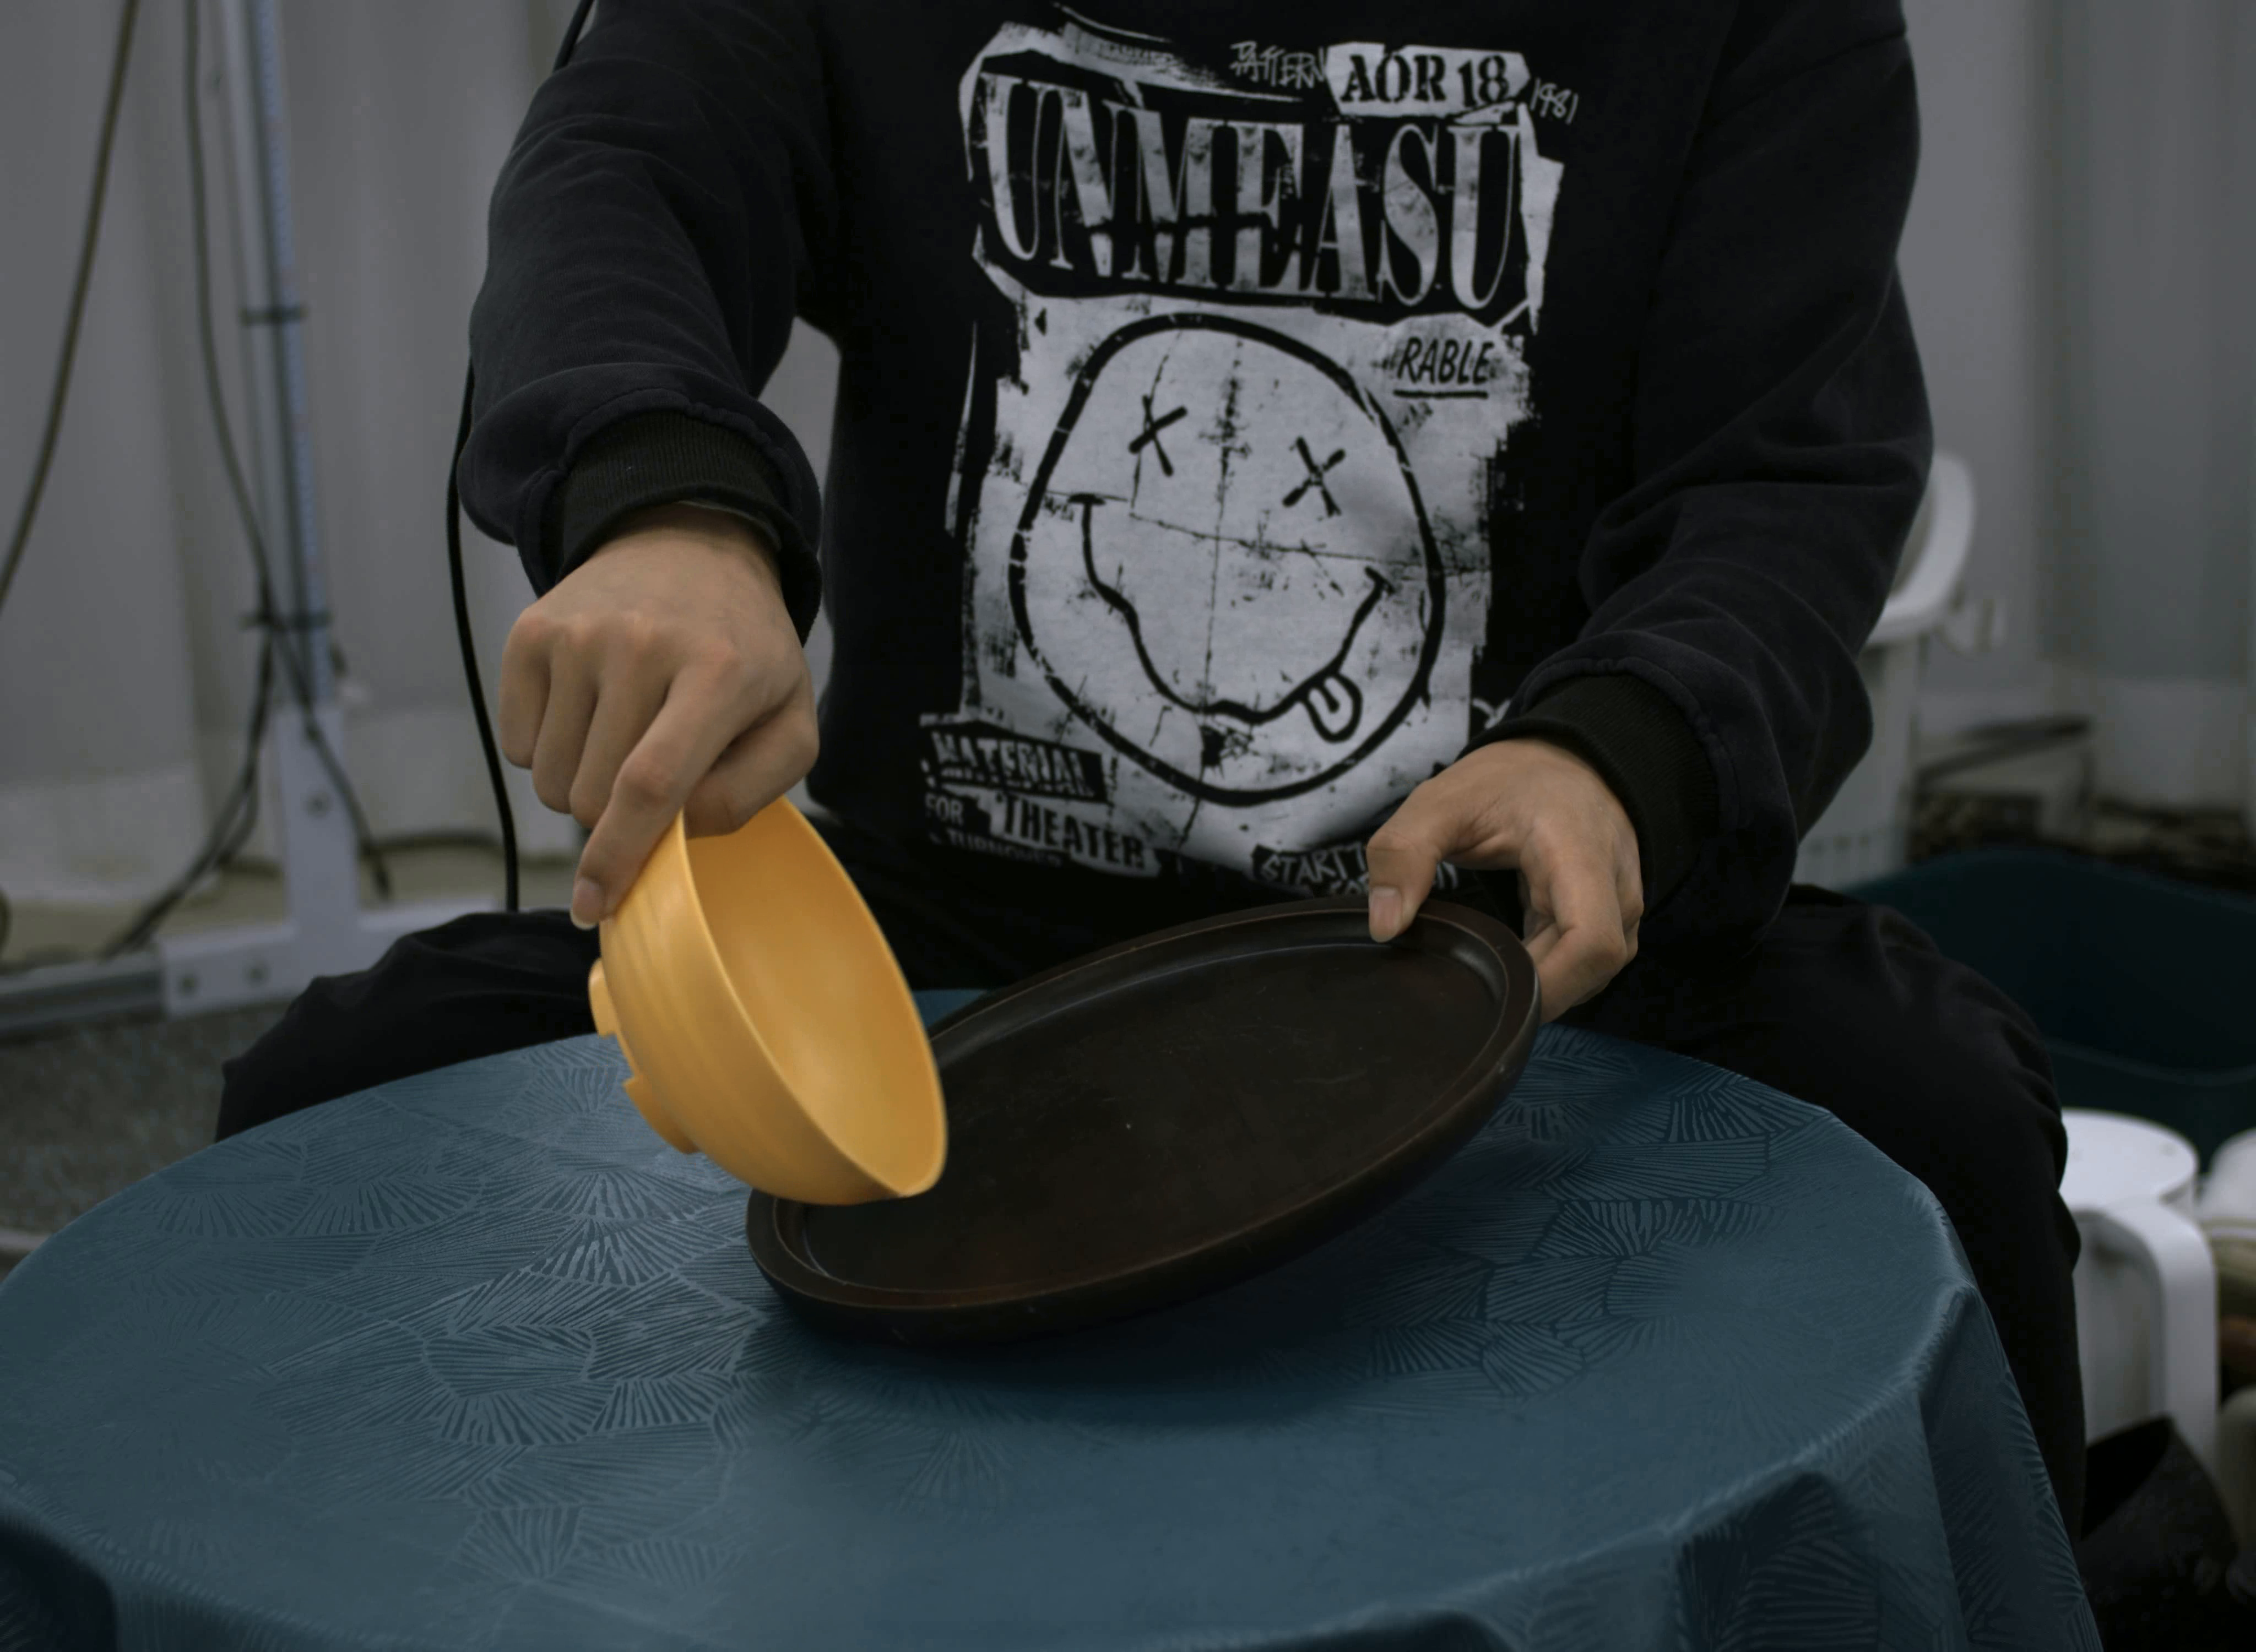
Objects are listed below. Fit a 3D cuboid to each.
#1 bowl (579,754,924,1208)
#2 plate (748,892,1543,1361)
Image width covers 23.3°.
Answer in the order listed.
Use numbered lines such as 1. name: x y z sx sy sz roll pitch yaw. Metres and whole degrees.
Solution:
1. bowl: -0.119 0.056 1.607 0.060 0.145 0.146 -27 11 12
2. plate: 0.006 0.089 1.647 0.254 0.029 0.257 -19 19 6
